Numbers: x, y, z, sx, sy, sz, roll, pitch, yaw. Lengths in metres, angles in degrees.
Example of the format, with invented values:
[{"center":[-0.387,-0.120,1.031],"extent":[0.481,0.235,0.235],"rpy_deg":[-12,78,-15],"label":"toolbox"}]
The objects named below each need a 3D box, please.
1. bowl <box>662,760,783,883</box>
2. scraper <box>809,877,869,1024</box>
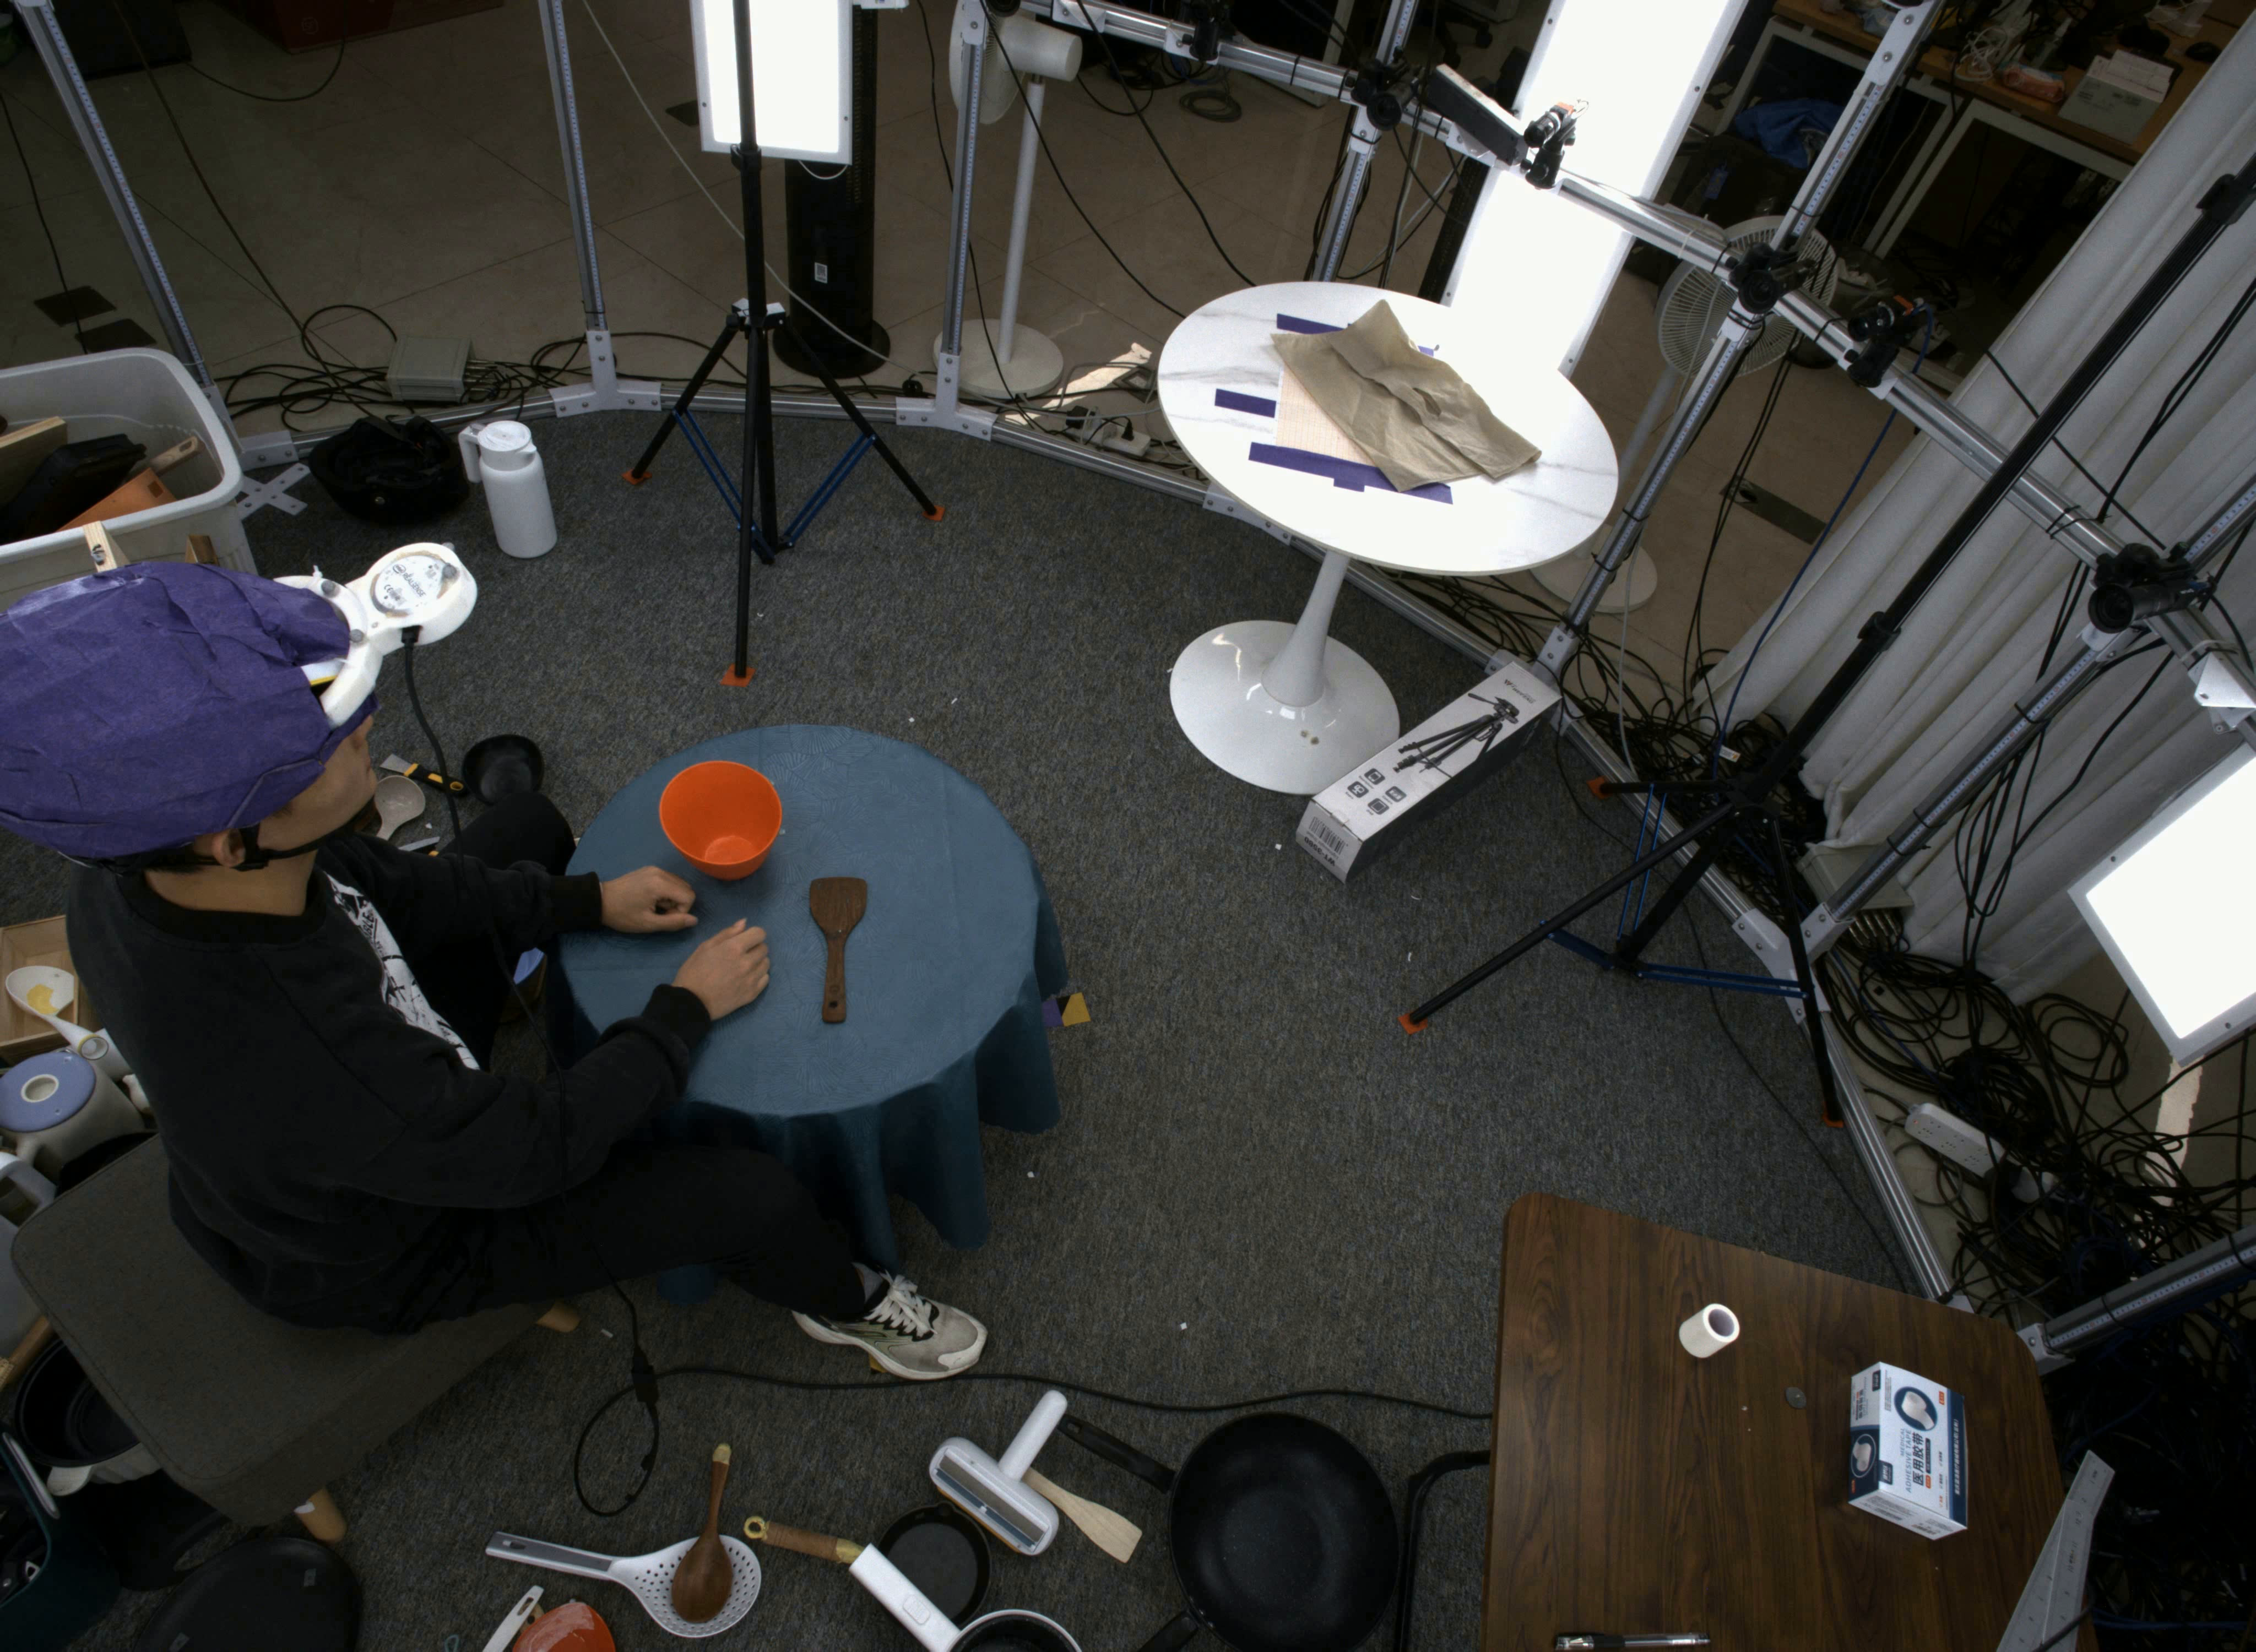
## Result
[{"center":[-0.511,0.005,1.638],"extent":[0.148,0.107,0.145],"rpy_deg":[8,51,-8],"label":"bowl"},{"center":[-0.364,0.152,1.626],"extent":[0.076,0.011,0.207],"rpy_deg":[2,54,-13],"label":"scraper"}]
